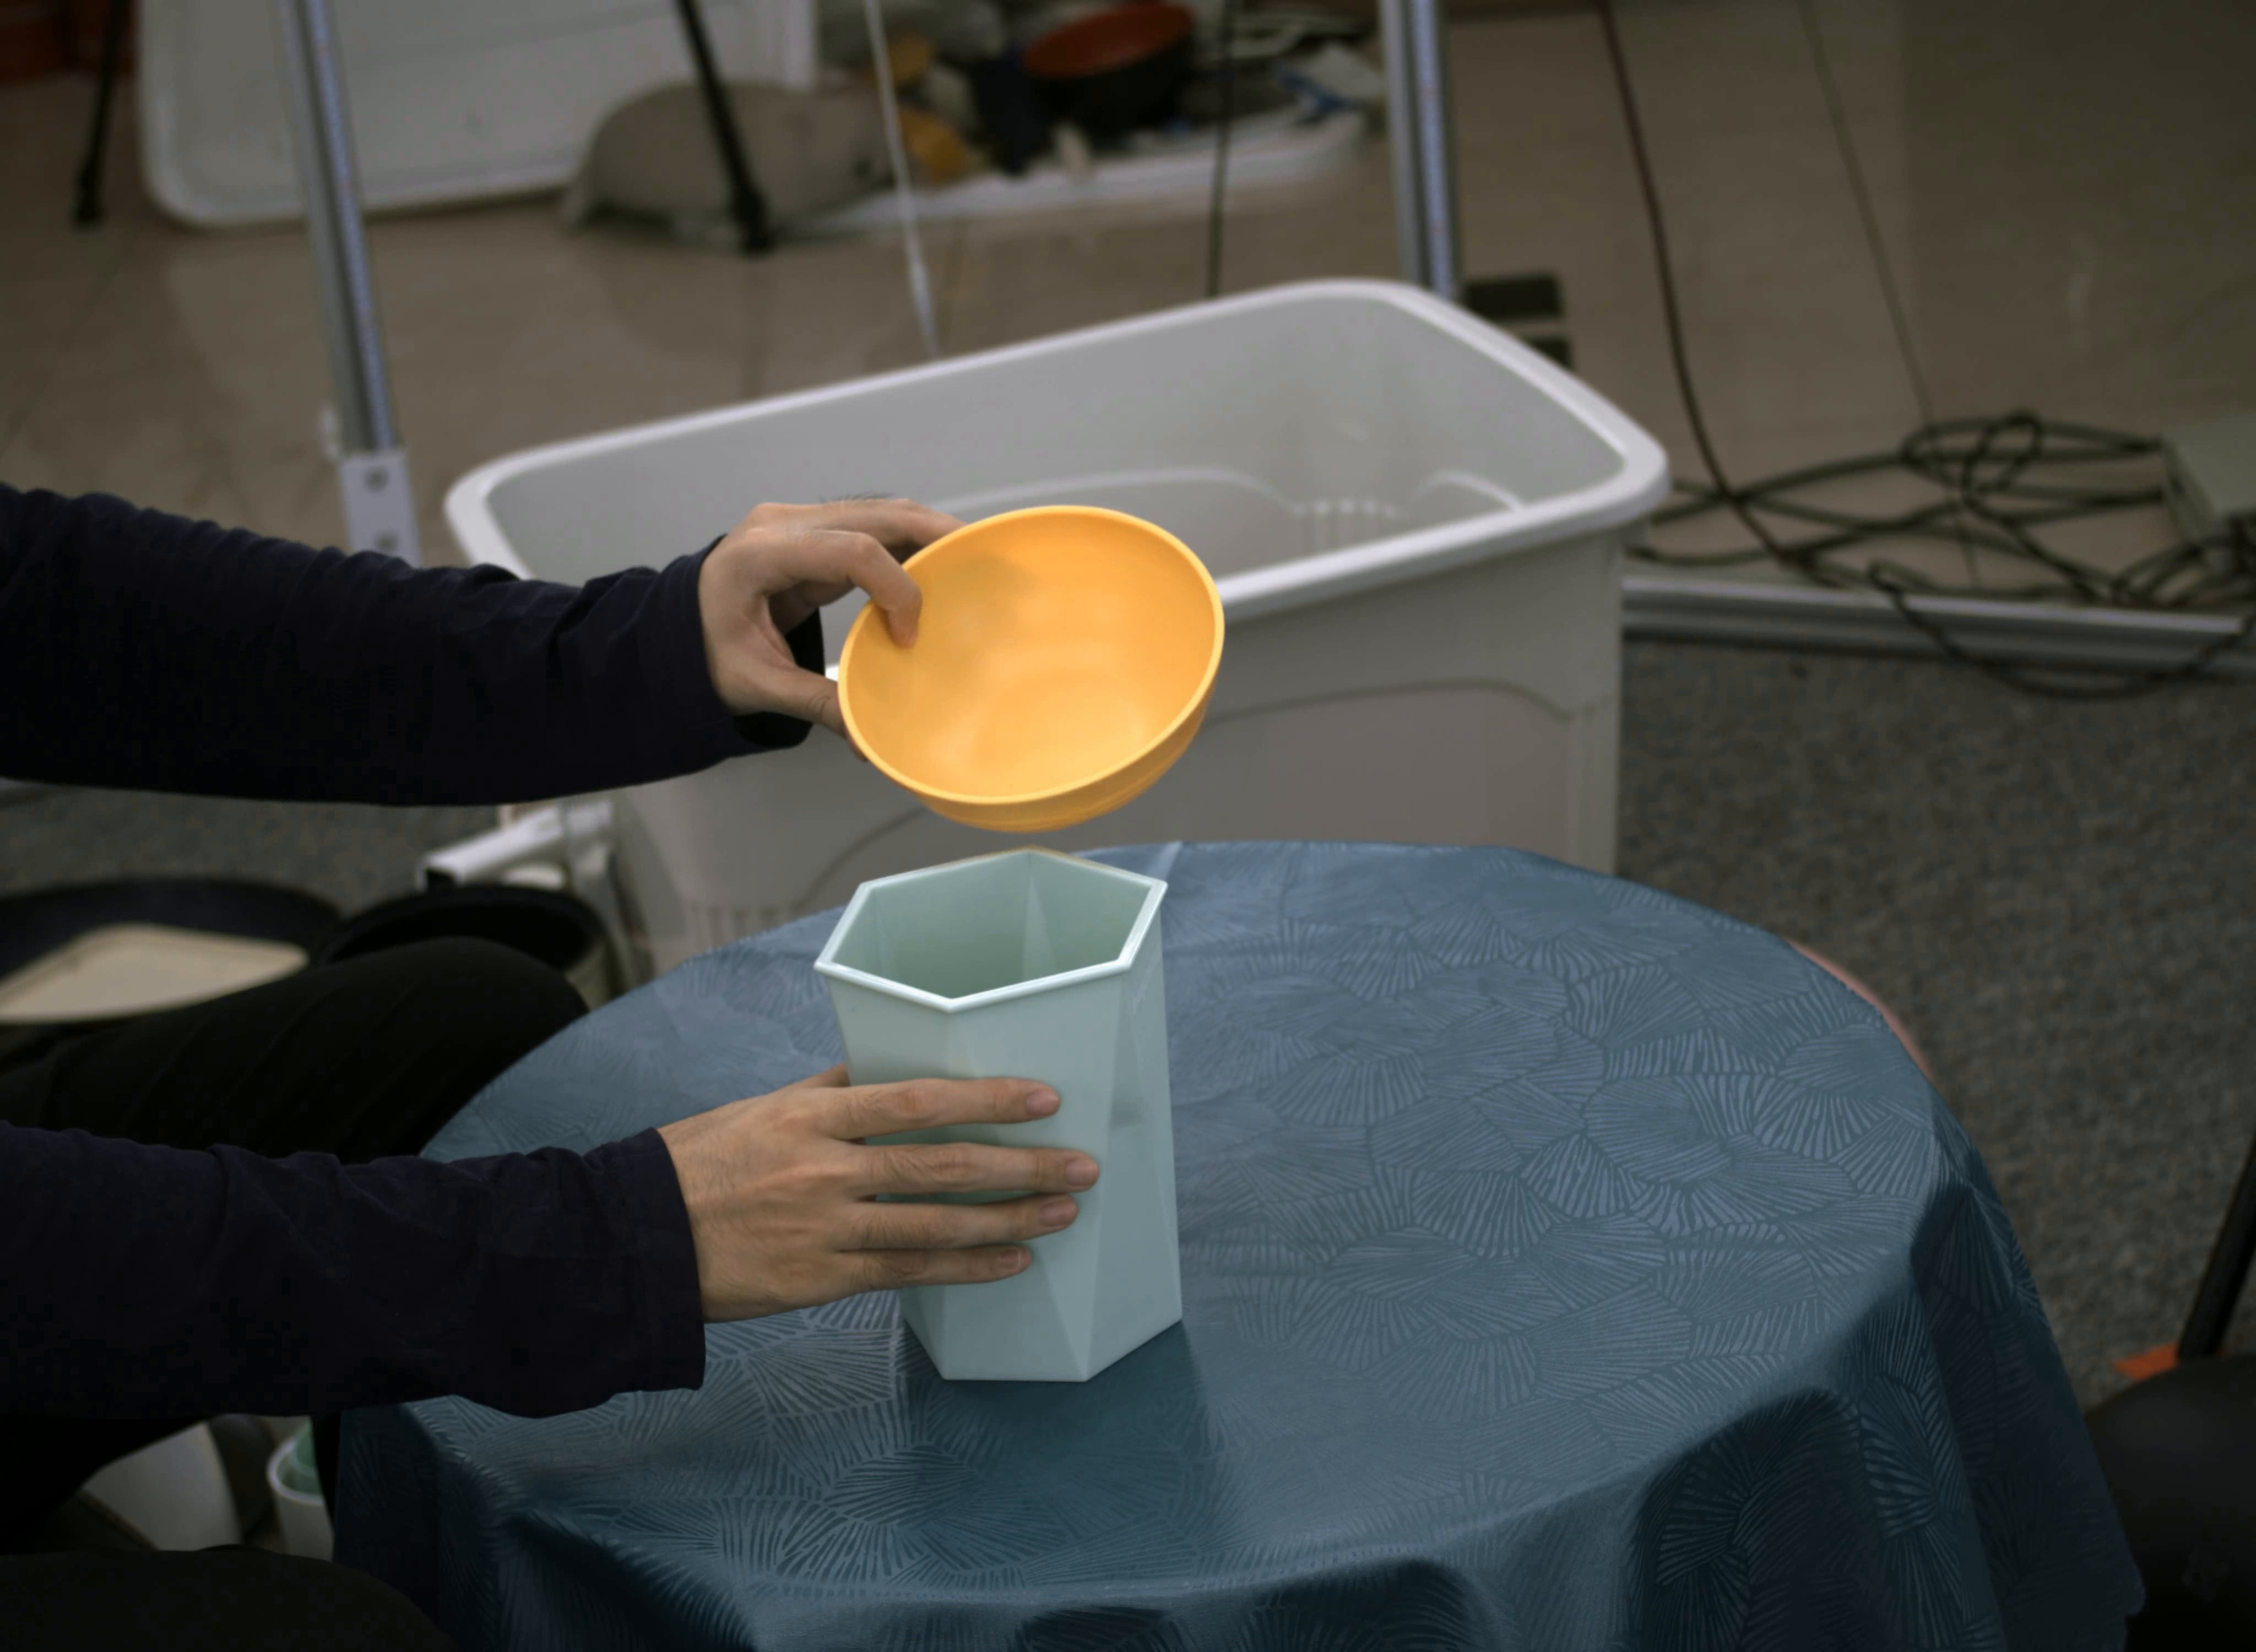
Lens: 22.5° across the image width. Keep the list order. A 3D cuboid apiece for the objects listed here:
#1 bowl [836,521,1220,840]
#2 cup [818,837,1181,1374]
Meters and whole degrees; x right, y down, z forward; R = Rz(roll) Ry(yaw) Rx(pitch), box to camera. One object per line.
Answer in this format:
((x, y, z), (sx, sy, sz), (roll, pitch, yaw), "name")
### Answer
((-0.032, -0.042, 2.089), (0.145, 0.061, 0.142), (-8, 47, 9), "bowl")
((-0.038, 0.103, 2.033), (0.115, 0.165, 0.129), (0, 26, 13), "cup")
